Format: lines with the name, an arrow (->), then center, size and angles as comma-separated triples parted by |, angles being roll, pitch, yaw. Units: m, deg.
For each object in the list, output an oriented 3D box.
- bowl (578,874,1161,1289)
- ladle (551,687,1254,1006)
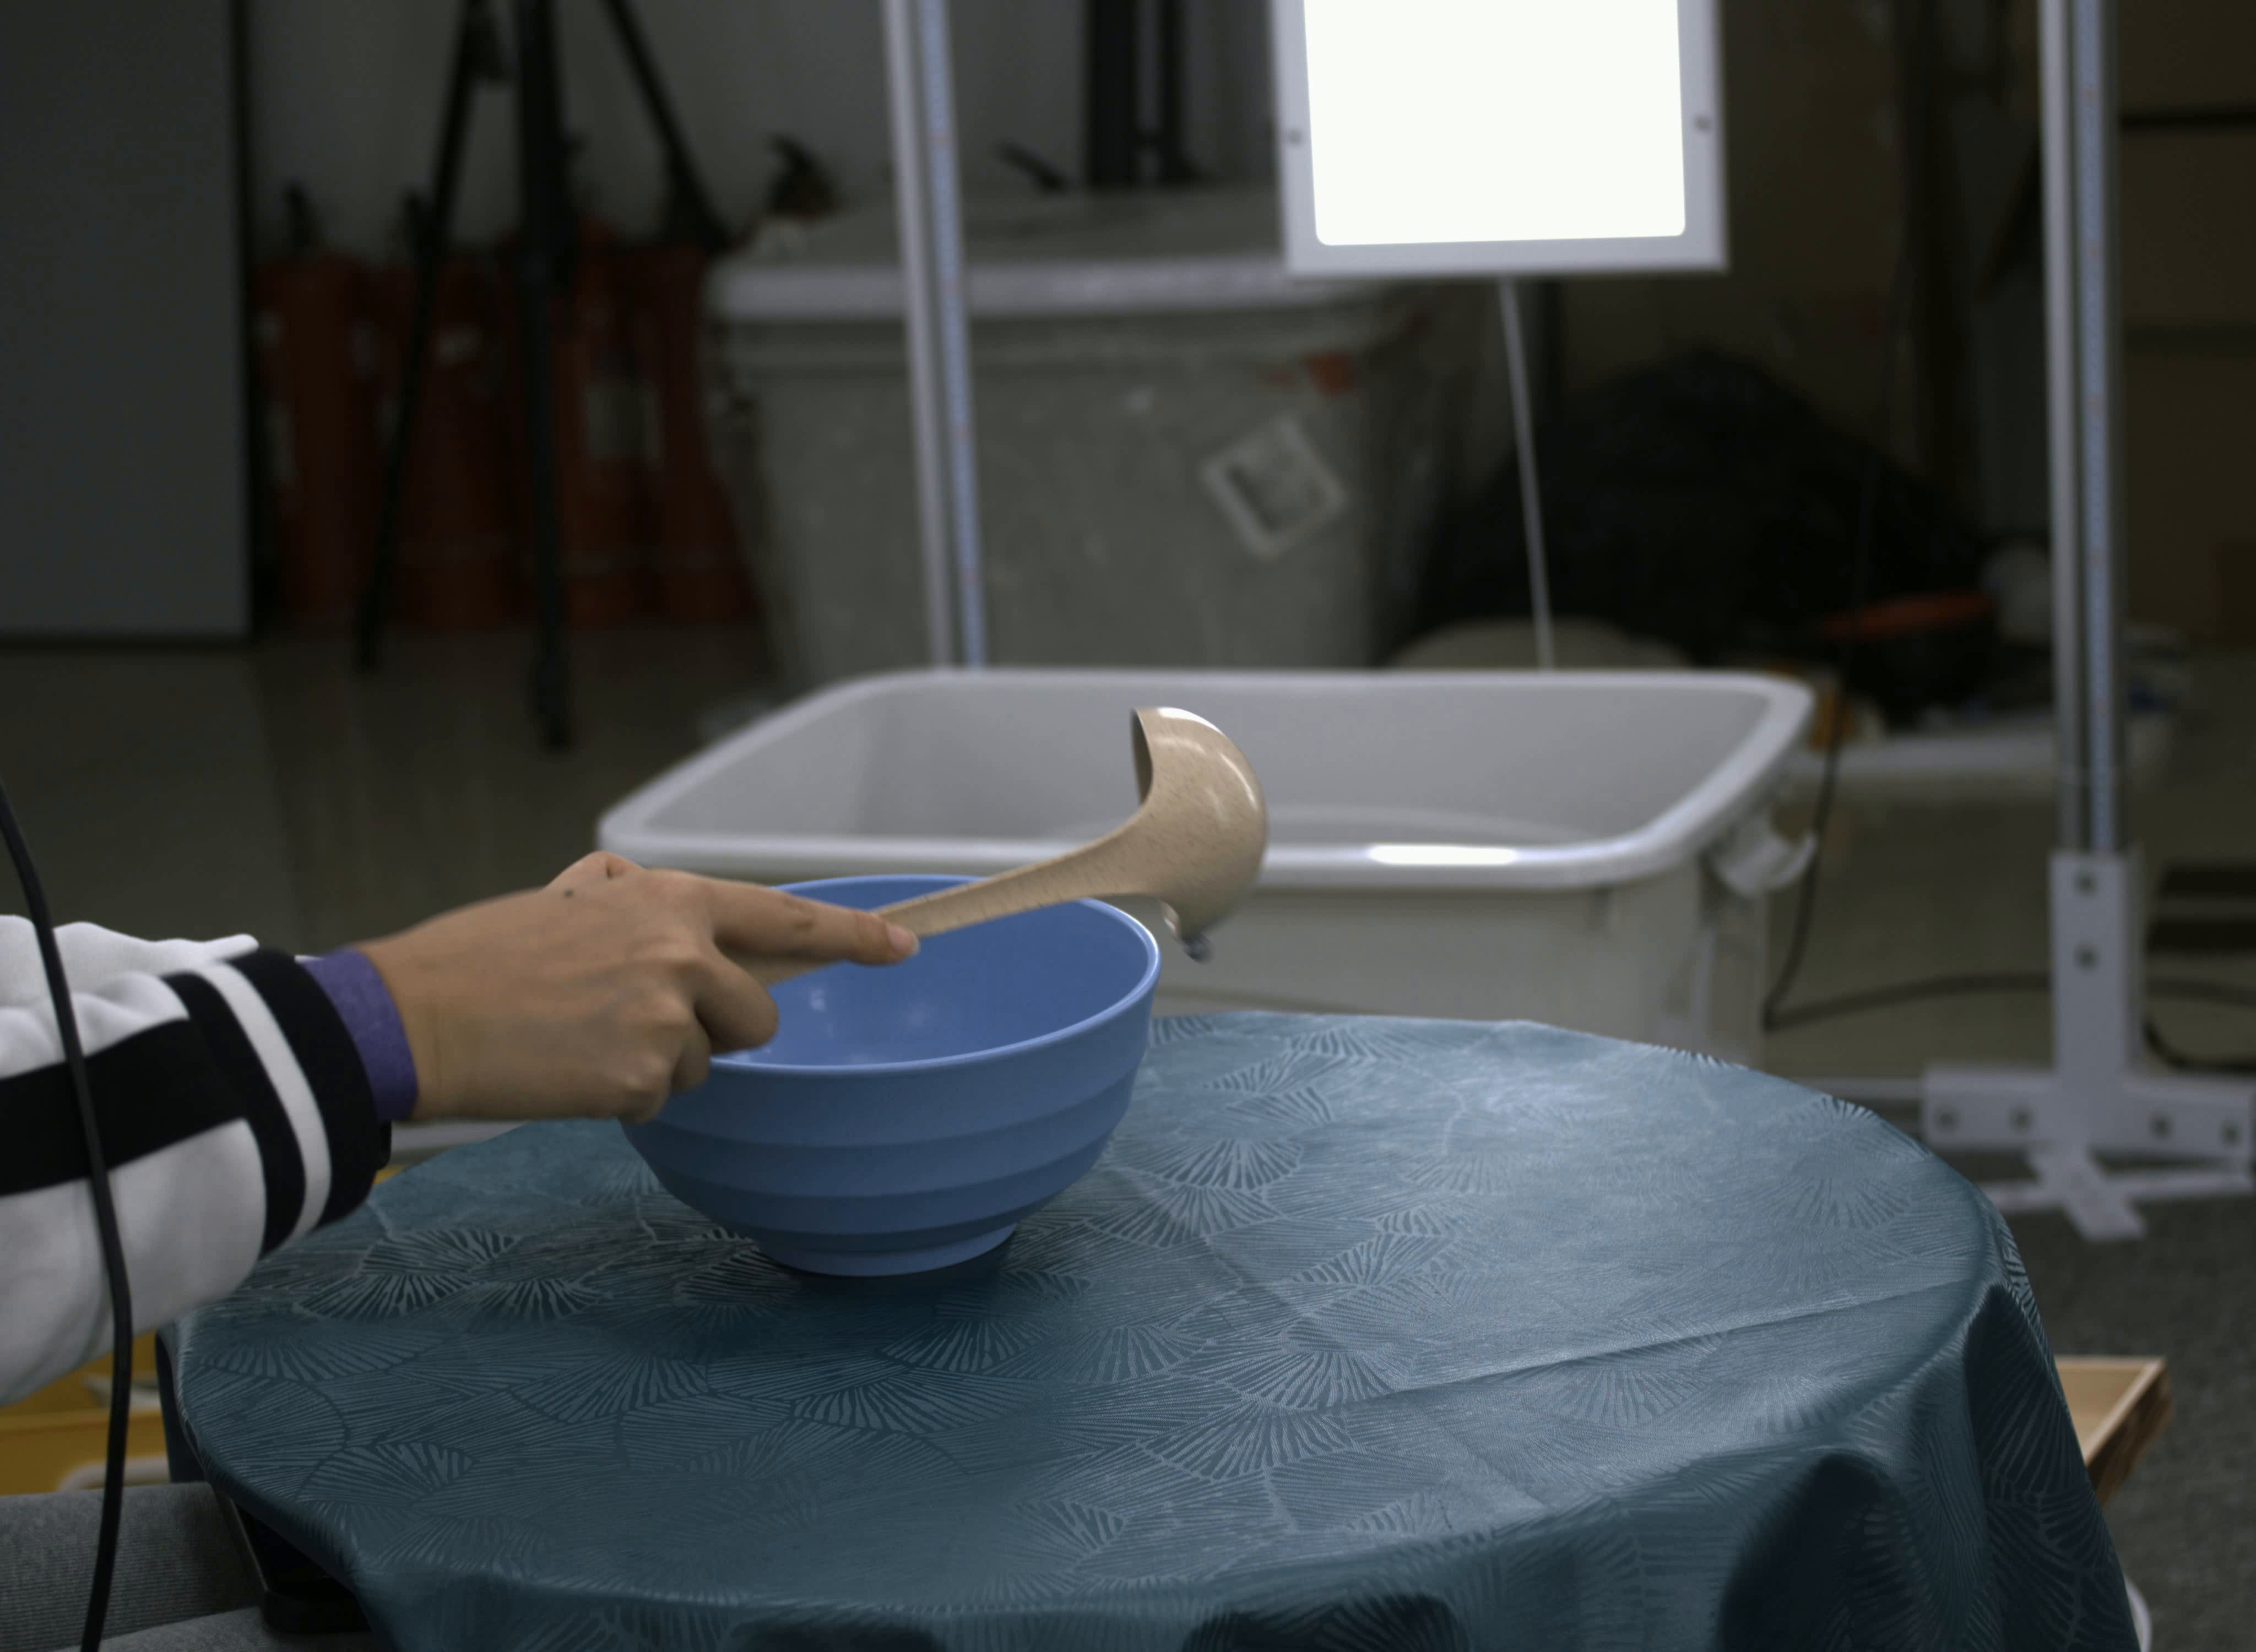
bowl -> -0.085, 0.095, 1.861 | 0.196, 0.096, 0.196 | -4, 20, 0
ladle -> -0.075, 0.012, 1.629 | 0.248, 0.072, 0.074 | -12, 22, -30
